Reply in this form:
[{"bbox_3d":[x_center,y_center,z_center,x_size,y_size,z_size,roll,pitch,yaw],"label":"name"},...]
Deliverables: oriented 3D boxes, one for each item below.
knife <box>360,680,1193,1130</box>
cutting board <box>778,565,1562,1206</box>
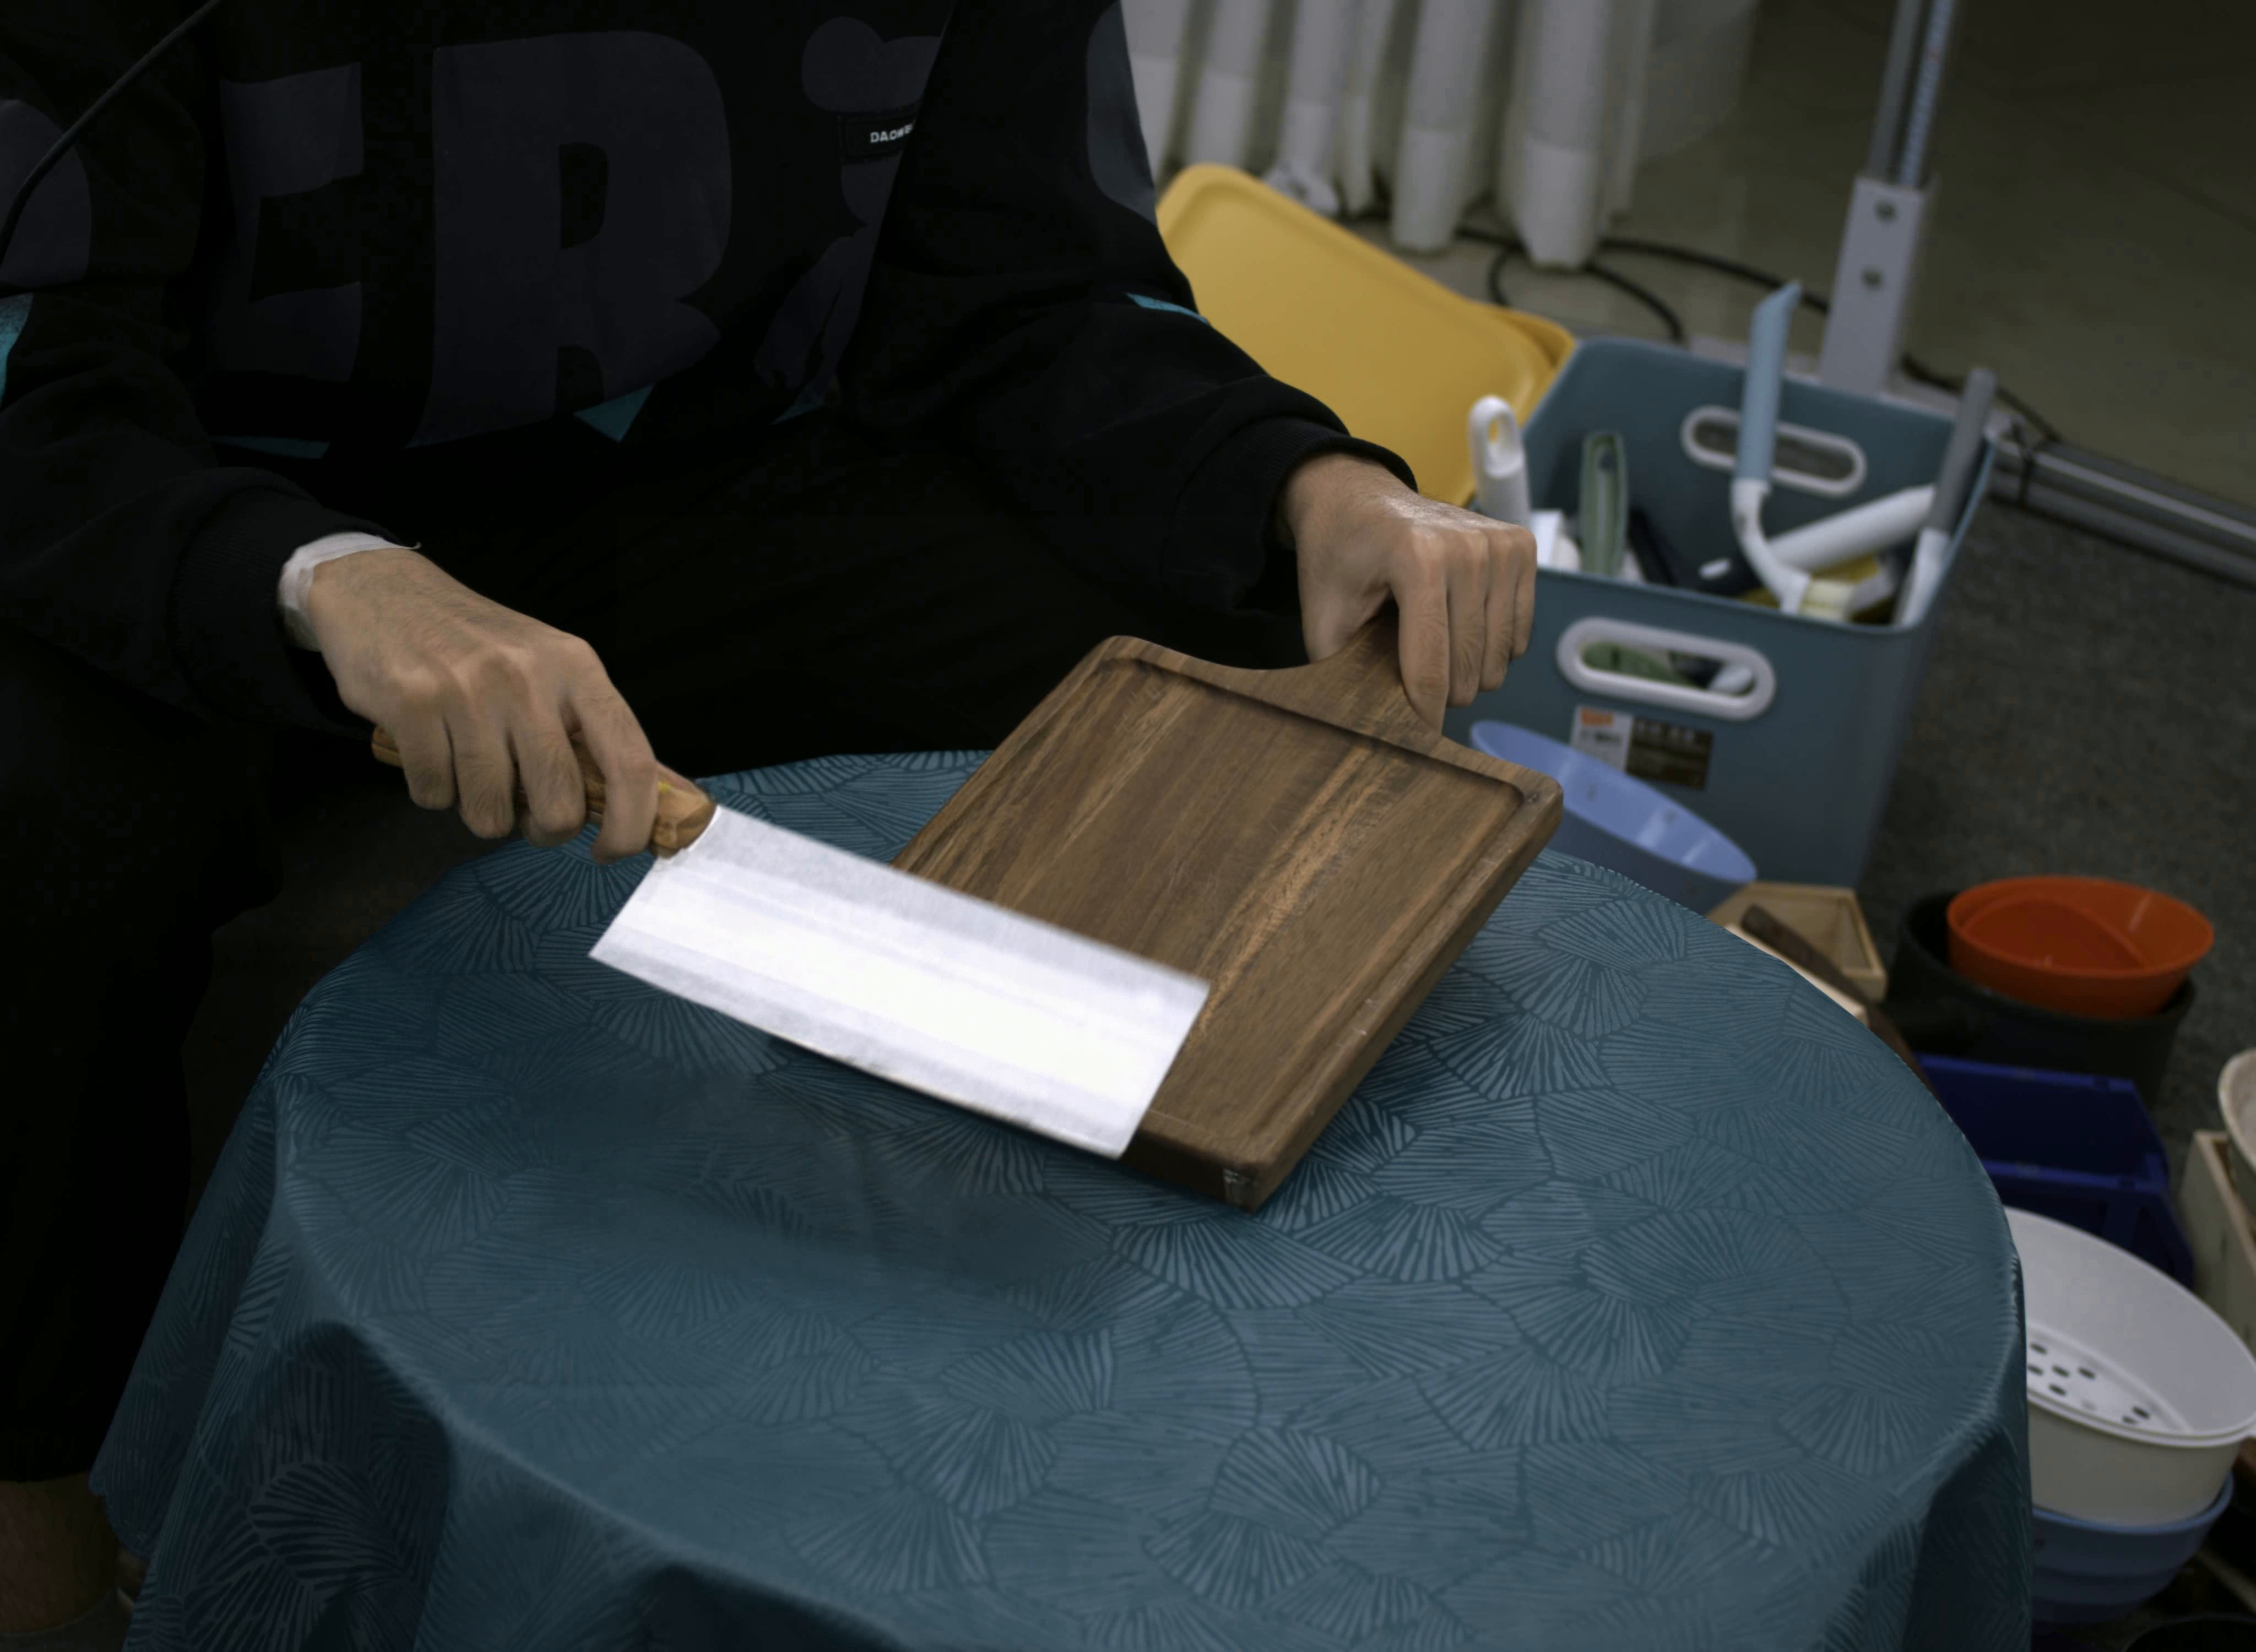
[{"bbox_3d":[-0.128,0.030,1.775,0.306,0.021,0.093,22,41,10],"label":"knife"},{"bbox_3d":[0.042,0.002,1.948,0.202,0.023,0.352,18,41,22],"label":"cutting board"}]
